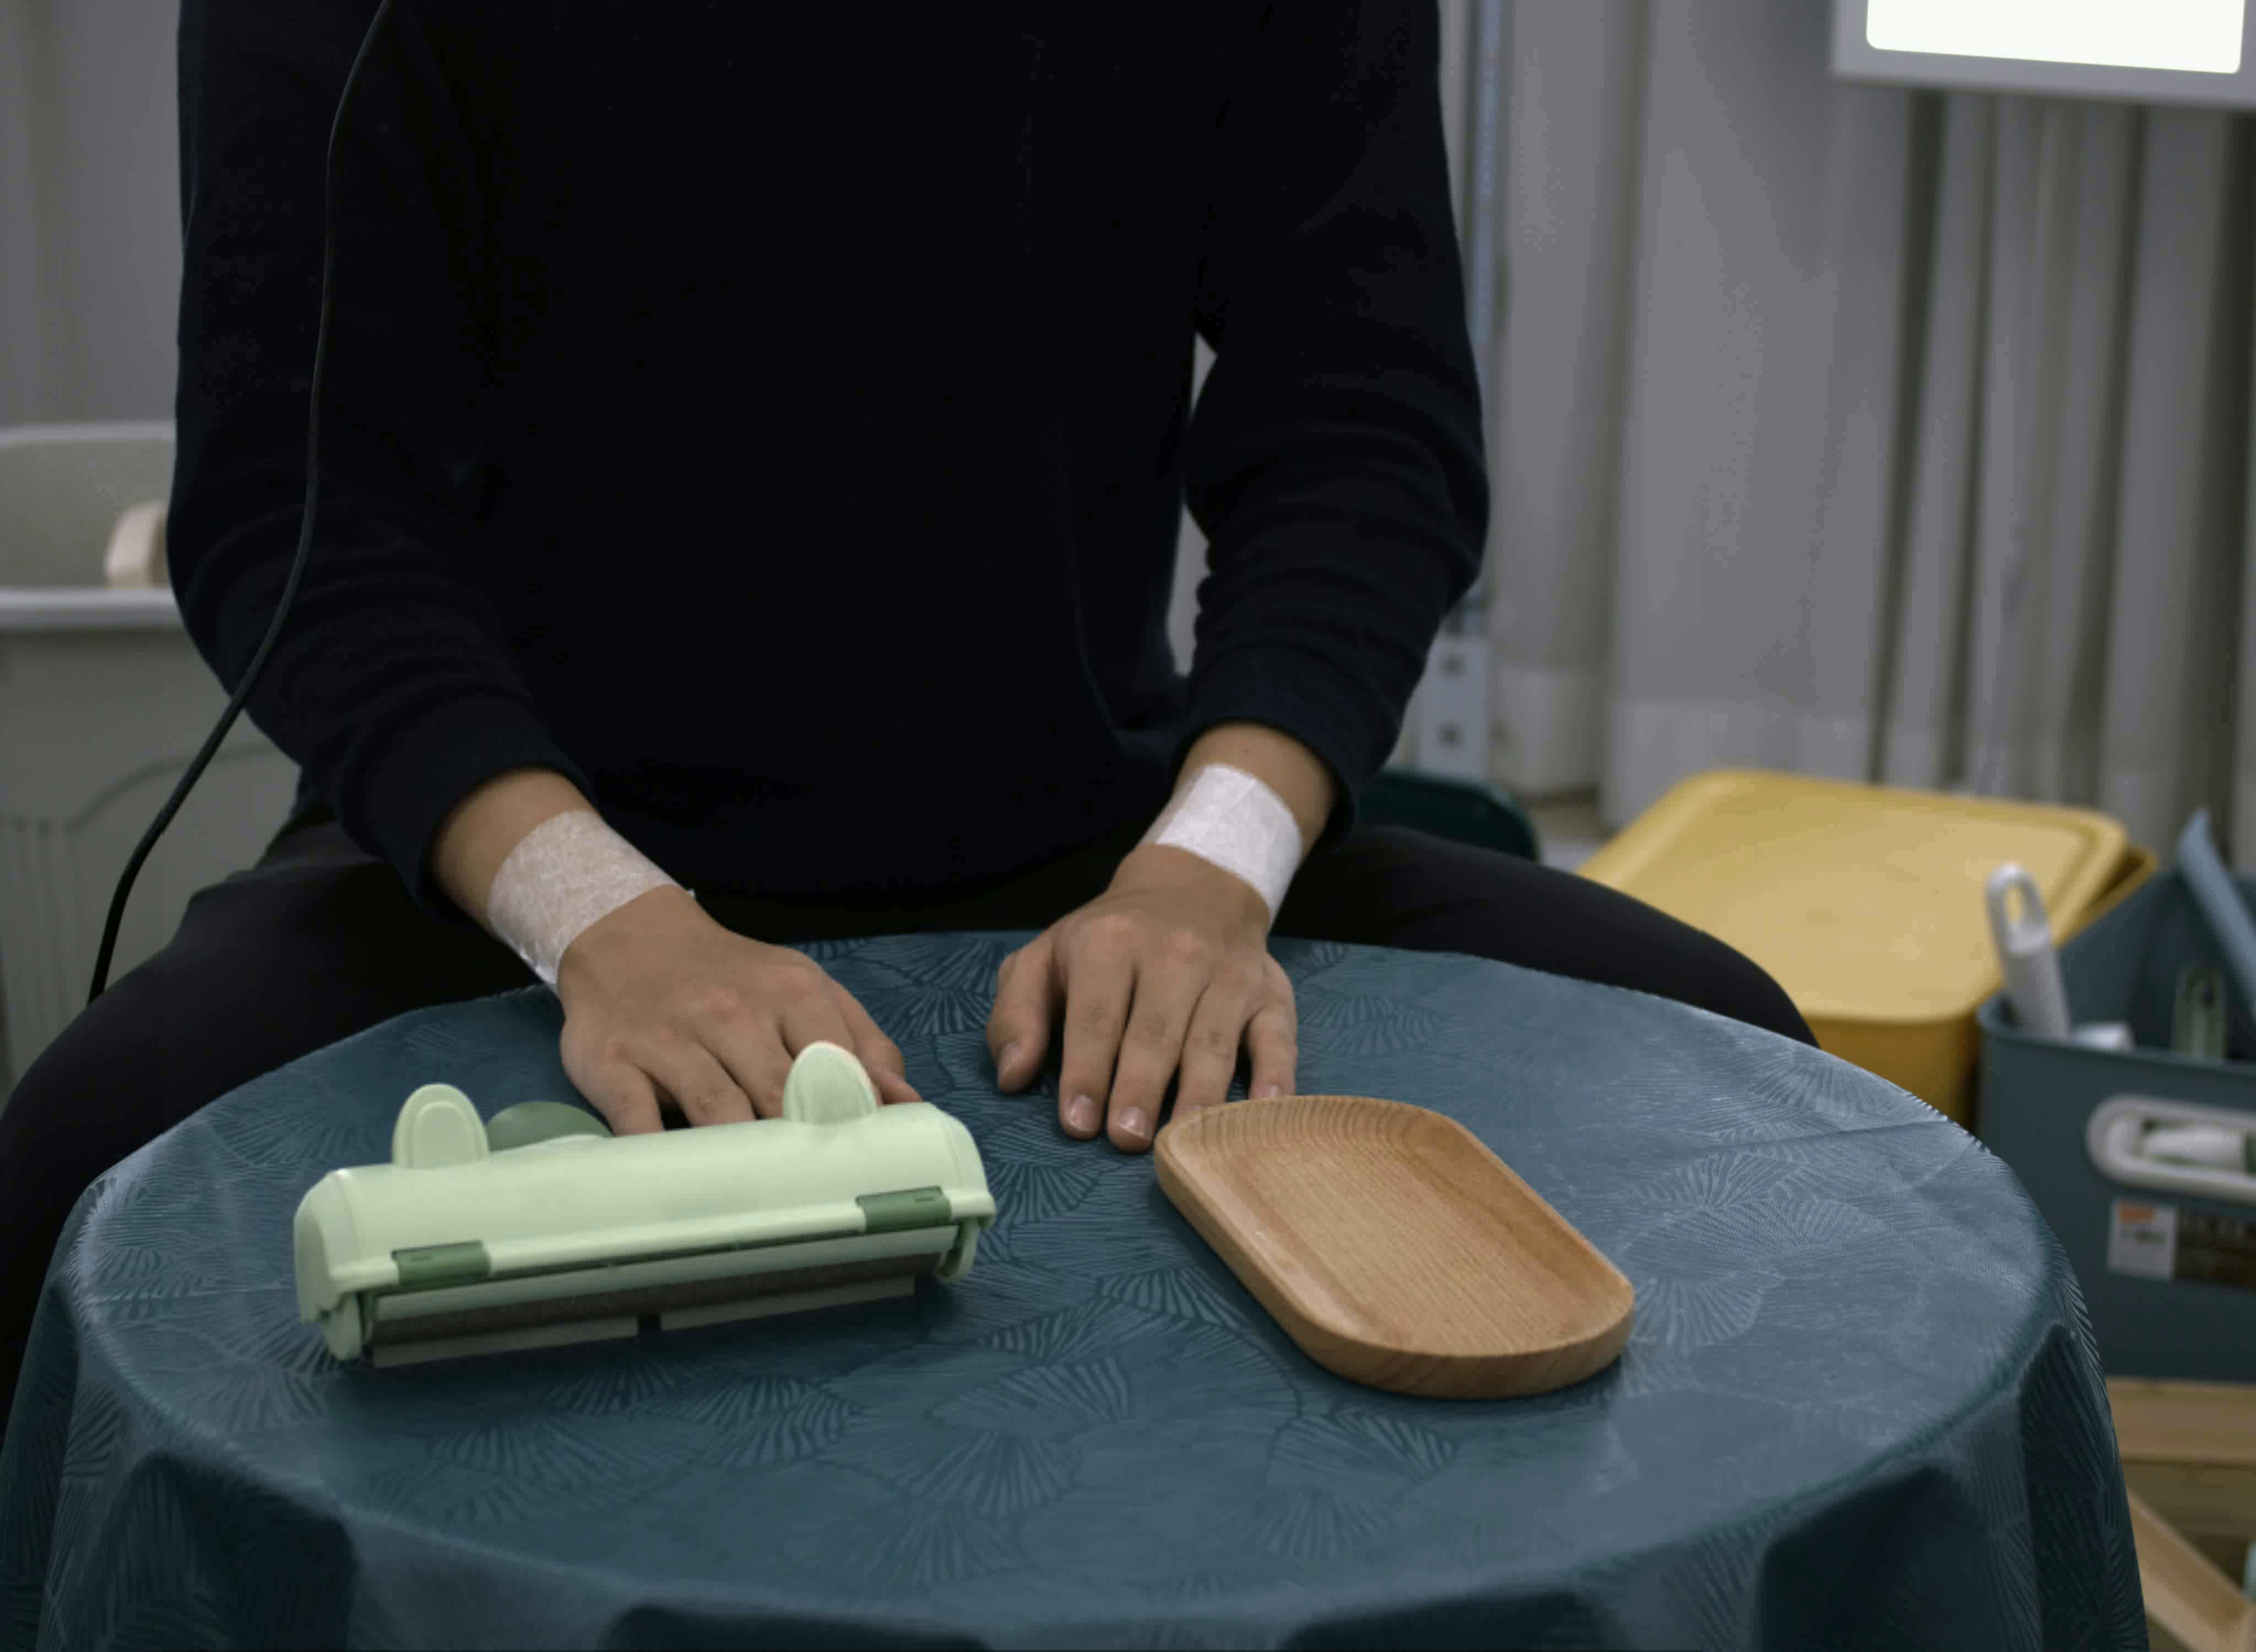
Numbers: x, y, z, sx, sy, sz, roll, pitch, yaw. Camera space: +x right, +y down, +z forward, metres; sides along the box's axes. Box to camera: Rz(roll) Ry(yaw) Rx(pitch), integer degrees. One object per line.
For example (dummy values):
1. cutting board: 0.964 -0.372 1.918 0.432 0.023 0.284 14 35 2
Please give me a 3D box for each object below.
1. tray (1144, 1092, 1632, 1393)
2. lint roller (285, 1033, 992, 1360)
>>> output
1. tray: 0.074 0.121 1.563 0.102 0.020 0.229 -4 15 -17
2. lint roller: -0.159 0.088 1.543 0.199 0.083 0.181 -5 22 -22
